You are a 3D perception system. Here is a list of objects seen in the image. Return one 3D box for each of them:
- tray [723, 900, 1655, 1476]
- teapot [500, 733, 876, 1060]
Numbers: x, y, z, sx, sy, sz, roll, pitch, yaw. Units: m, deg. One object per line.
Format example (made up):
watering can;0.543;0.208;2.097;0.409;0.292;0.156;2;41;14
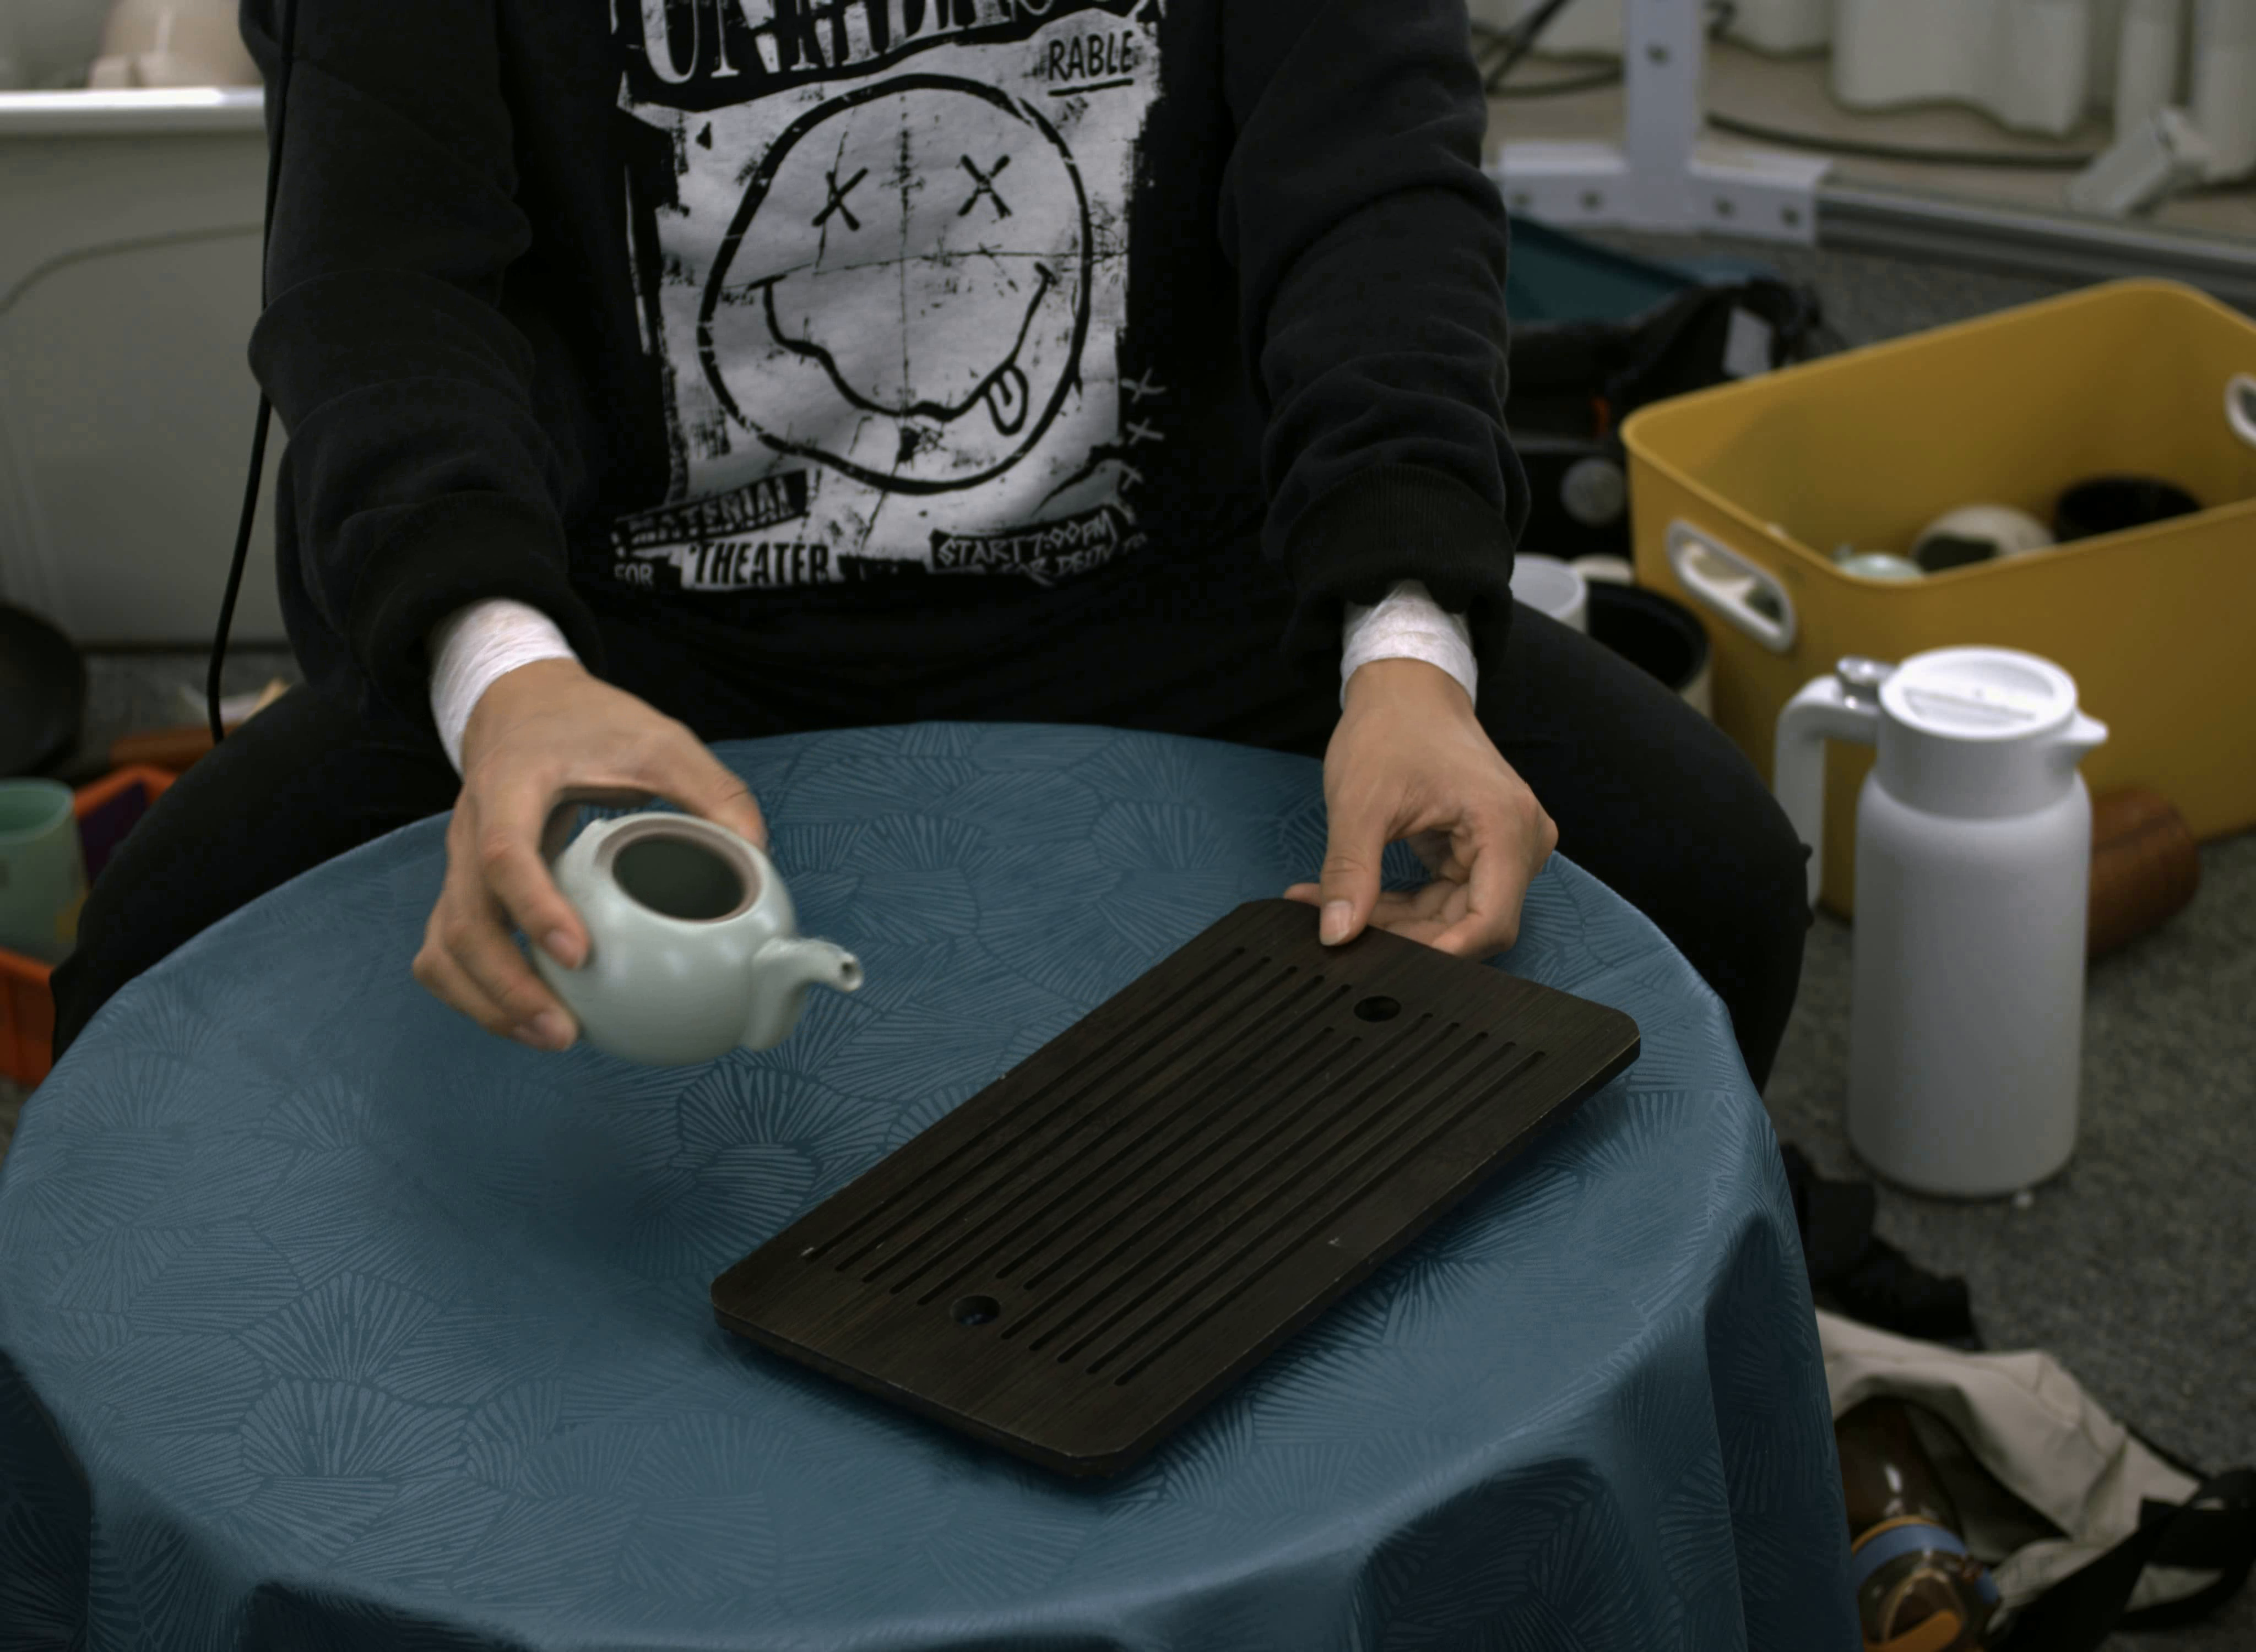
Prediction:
tray;0.024;0.115;1.841;0.169;0.018;0.310;18;35;34
teapot;-0.148;0.033;1.827;0.144;0.073;0.089;35;37;17
